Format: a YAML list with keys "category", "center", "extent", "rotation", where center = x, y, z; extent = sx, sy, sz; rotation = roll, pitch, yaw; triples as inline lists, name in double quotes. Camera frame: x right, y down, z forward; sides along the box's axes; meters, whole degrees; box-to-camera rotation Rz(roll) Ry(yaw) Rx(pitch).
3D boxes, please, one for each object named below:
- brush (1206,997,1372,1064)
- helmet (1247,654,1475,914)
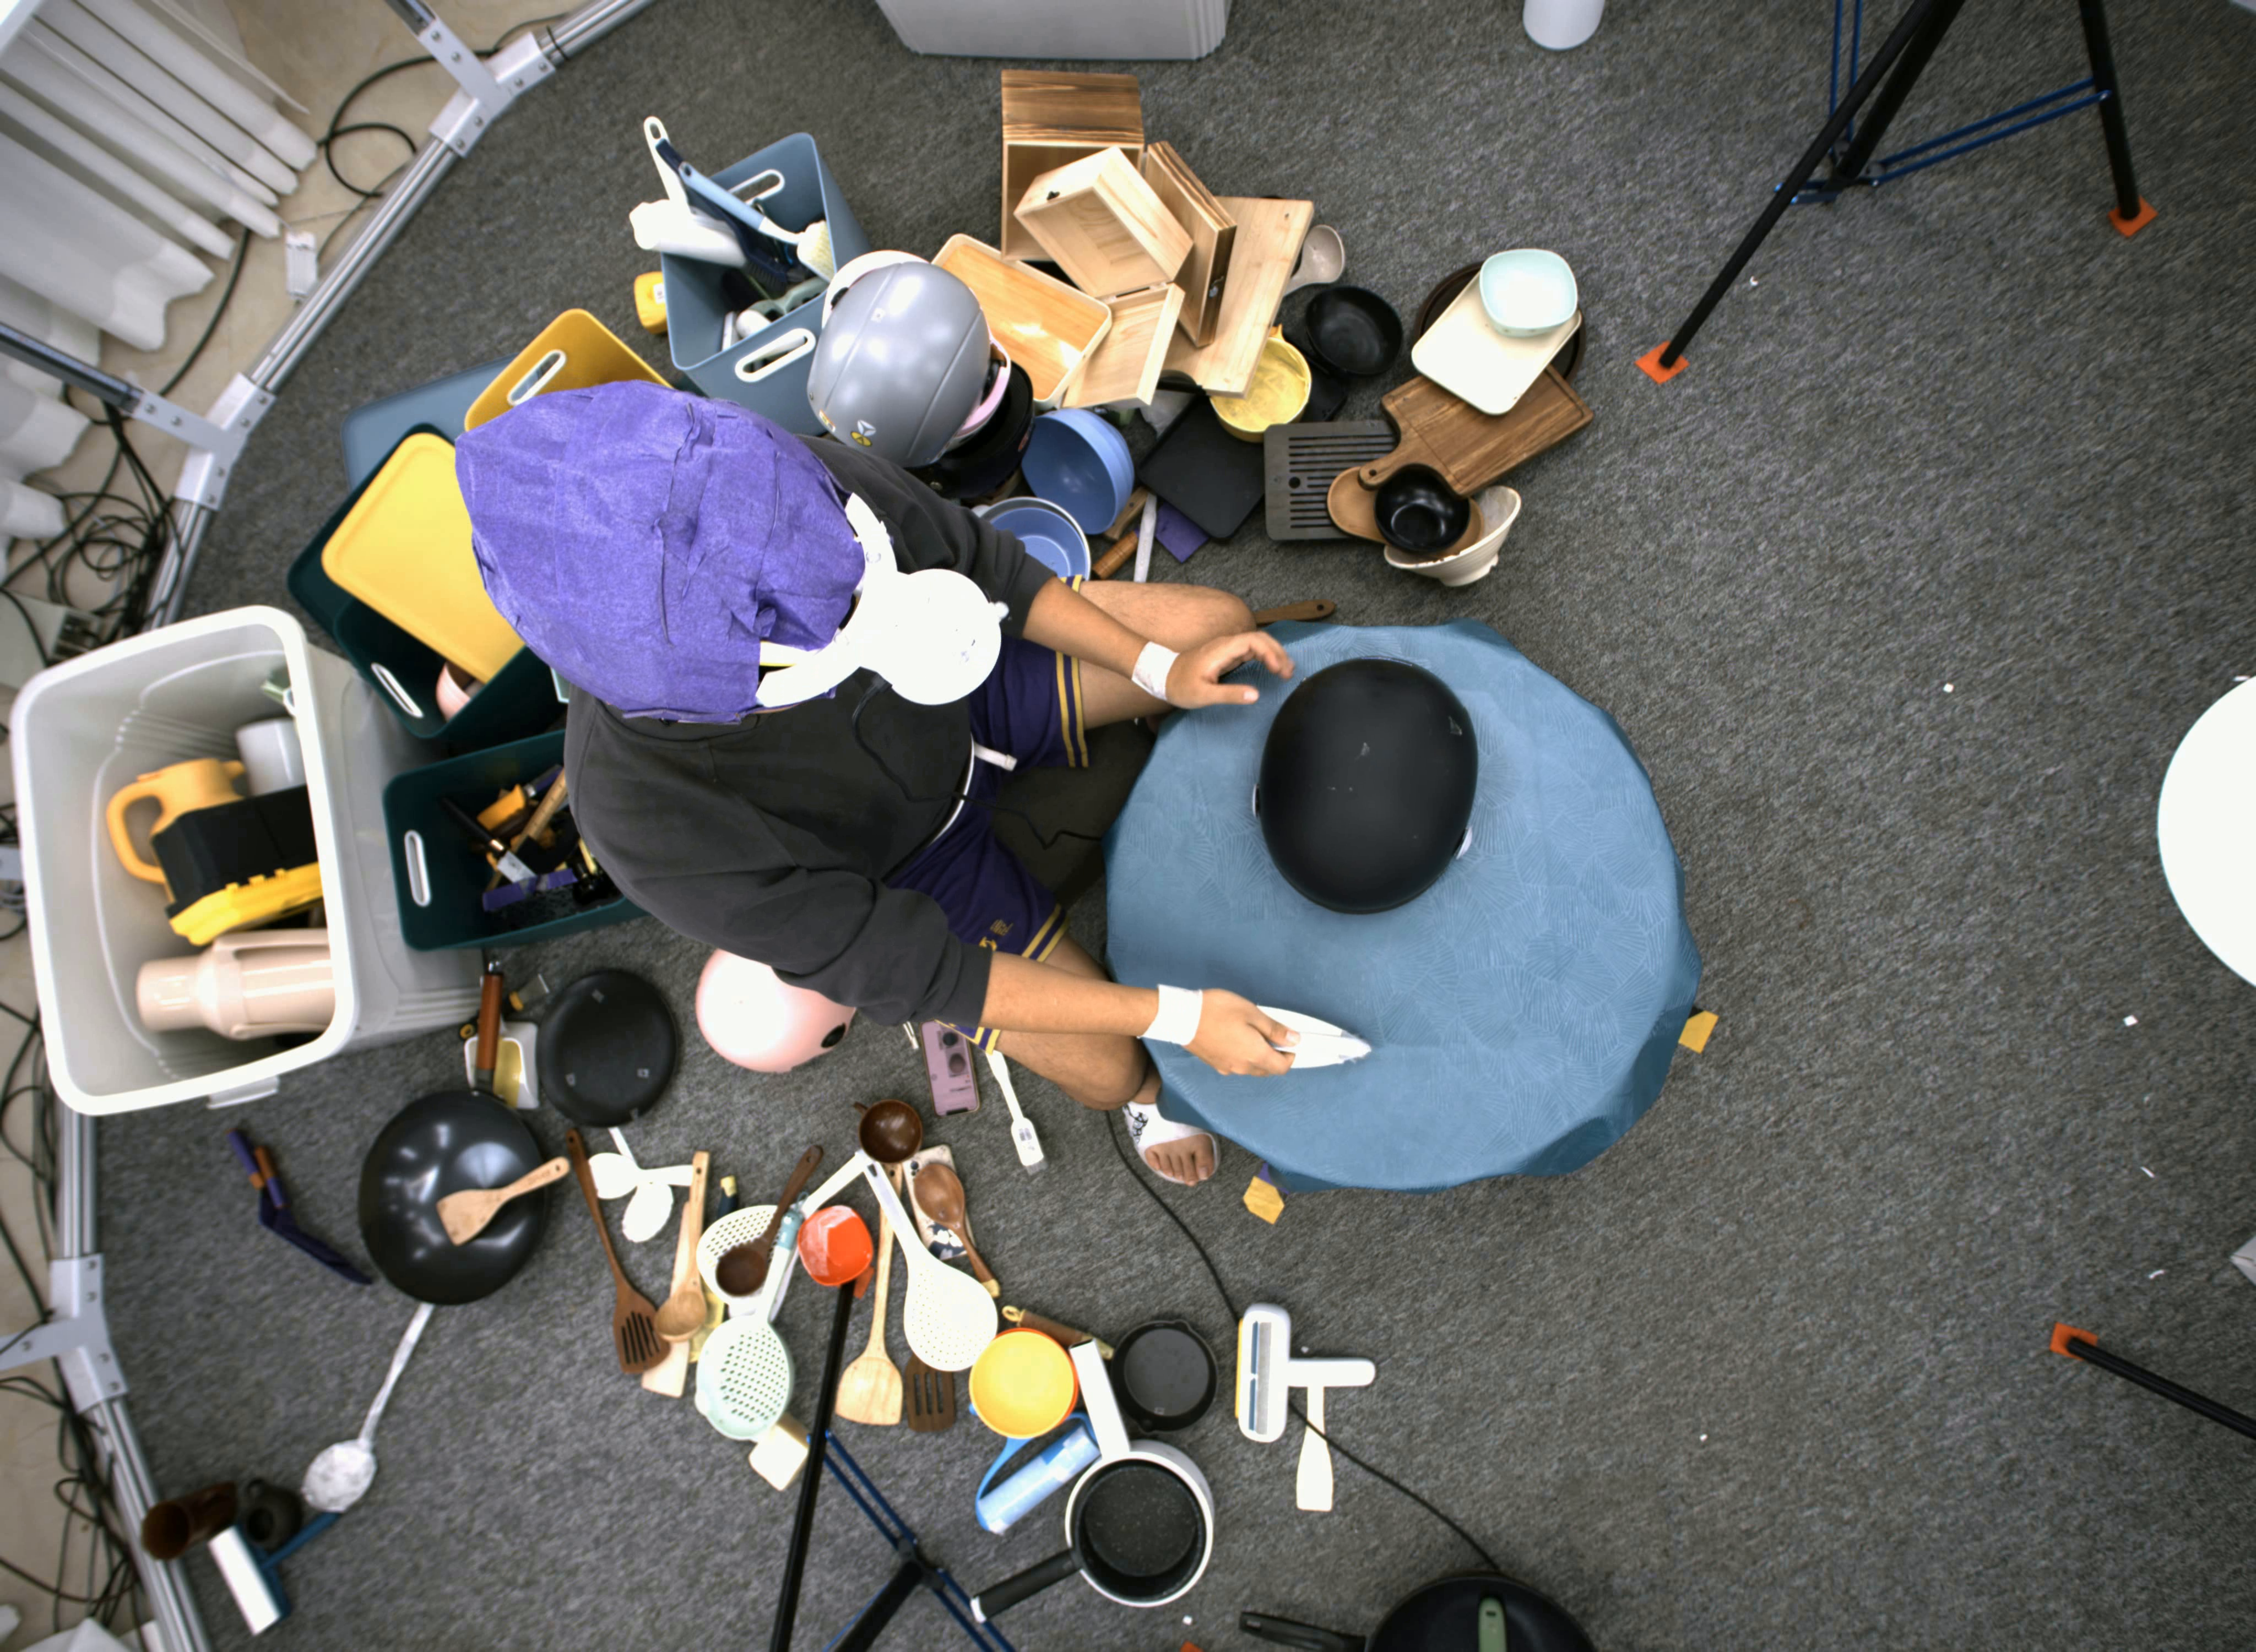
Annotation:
- category: "brush"
  center: [0.165, 0.215, 1.424]
  extent: [0.176, 0.094, 0.061]
  rotation: [9, 85, 8]
- category: "helmet"
  center: [0.238, -0.048, 1.391]
  extent: [0.230, 0.166, 0.273]
  rotation: [14, 91, 11]
